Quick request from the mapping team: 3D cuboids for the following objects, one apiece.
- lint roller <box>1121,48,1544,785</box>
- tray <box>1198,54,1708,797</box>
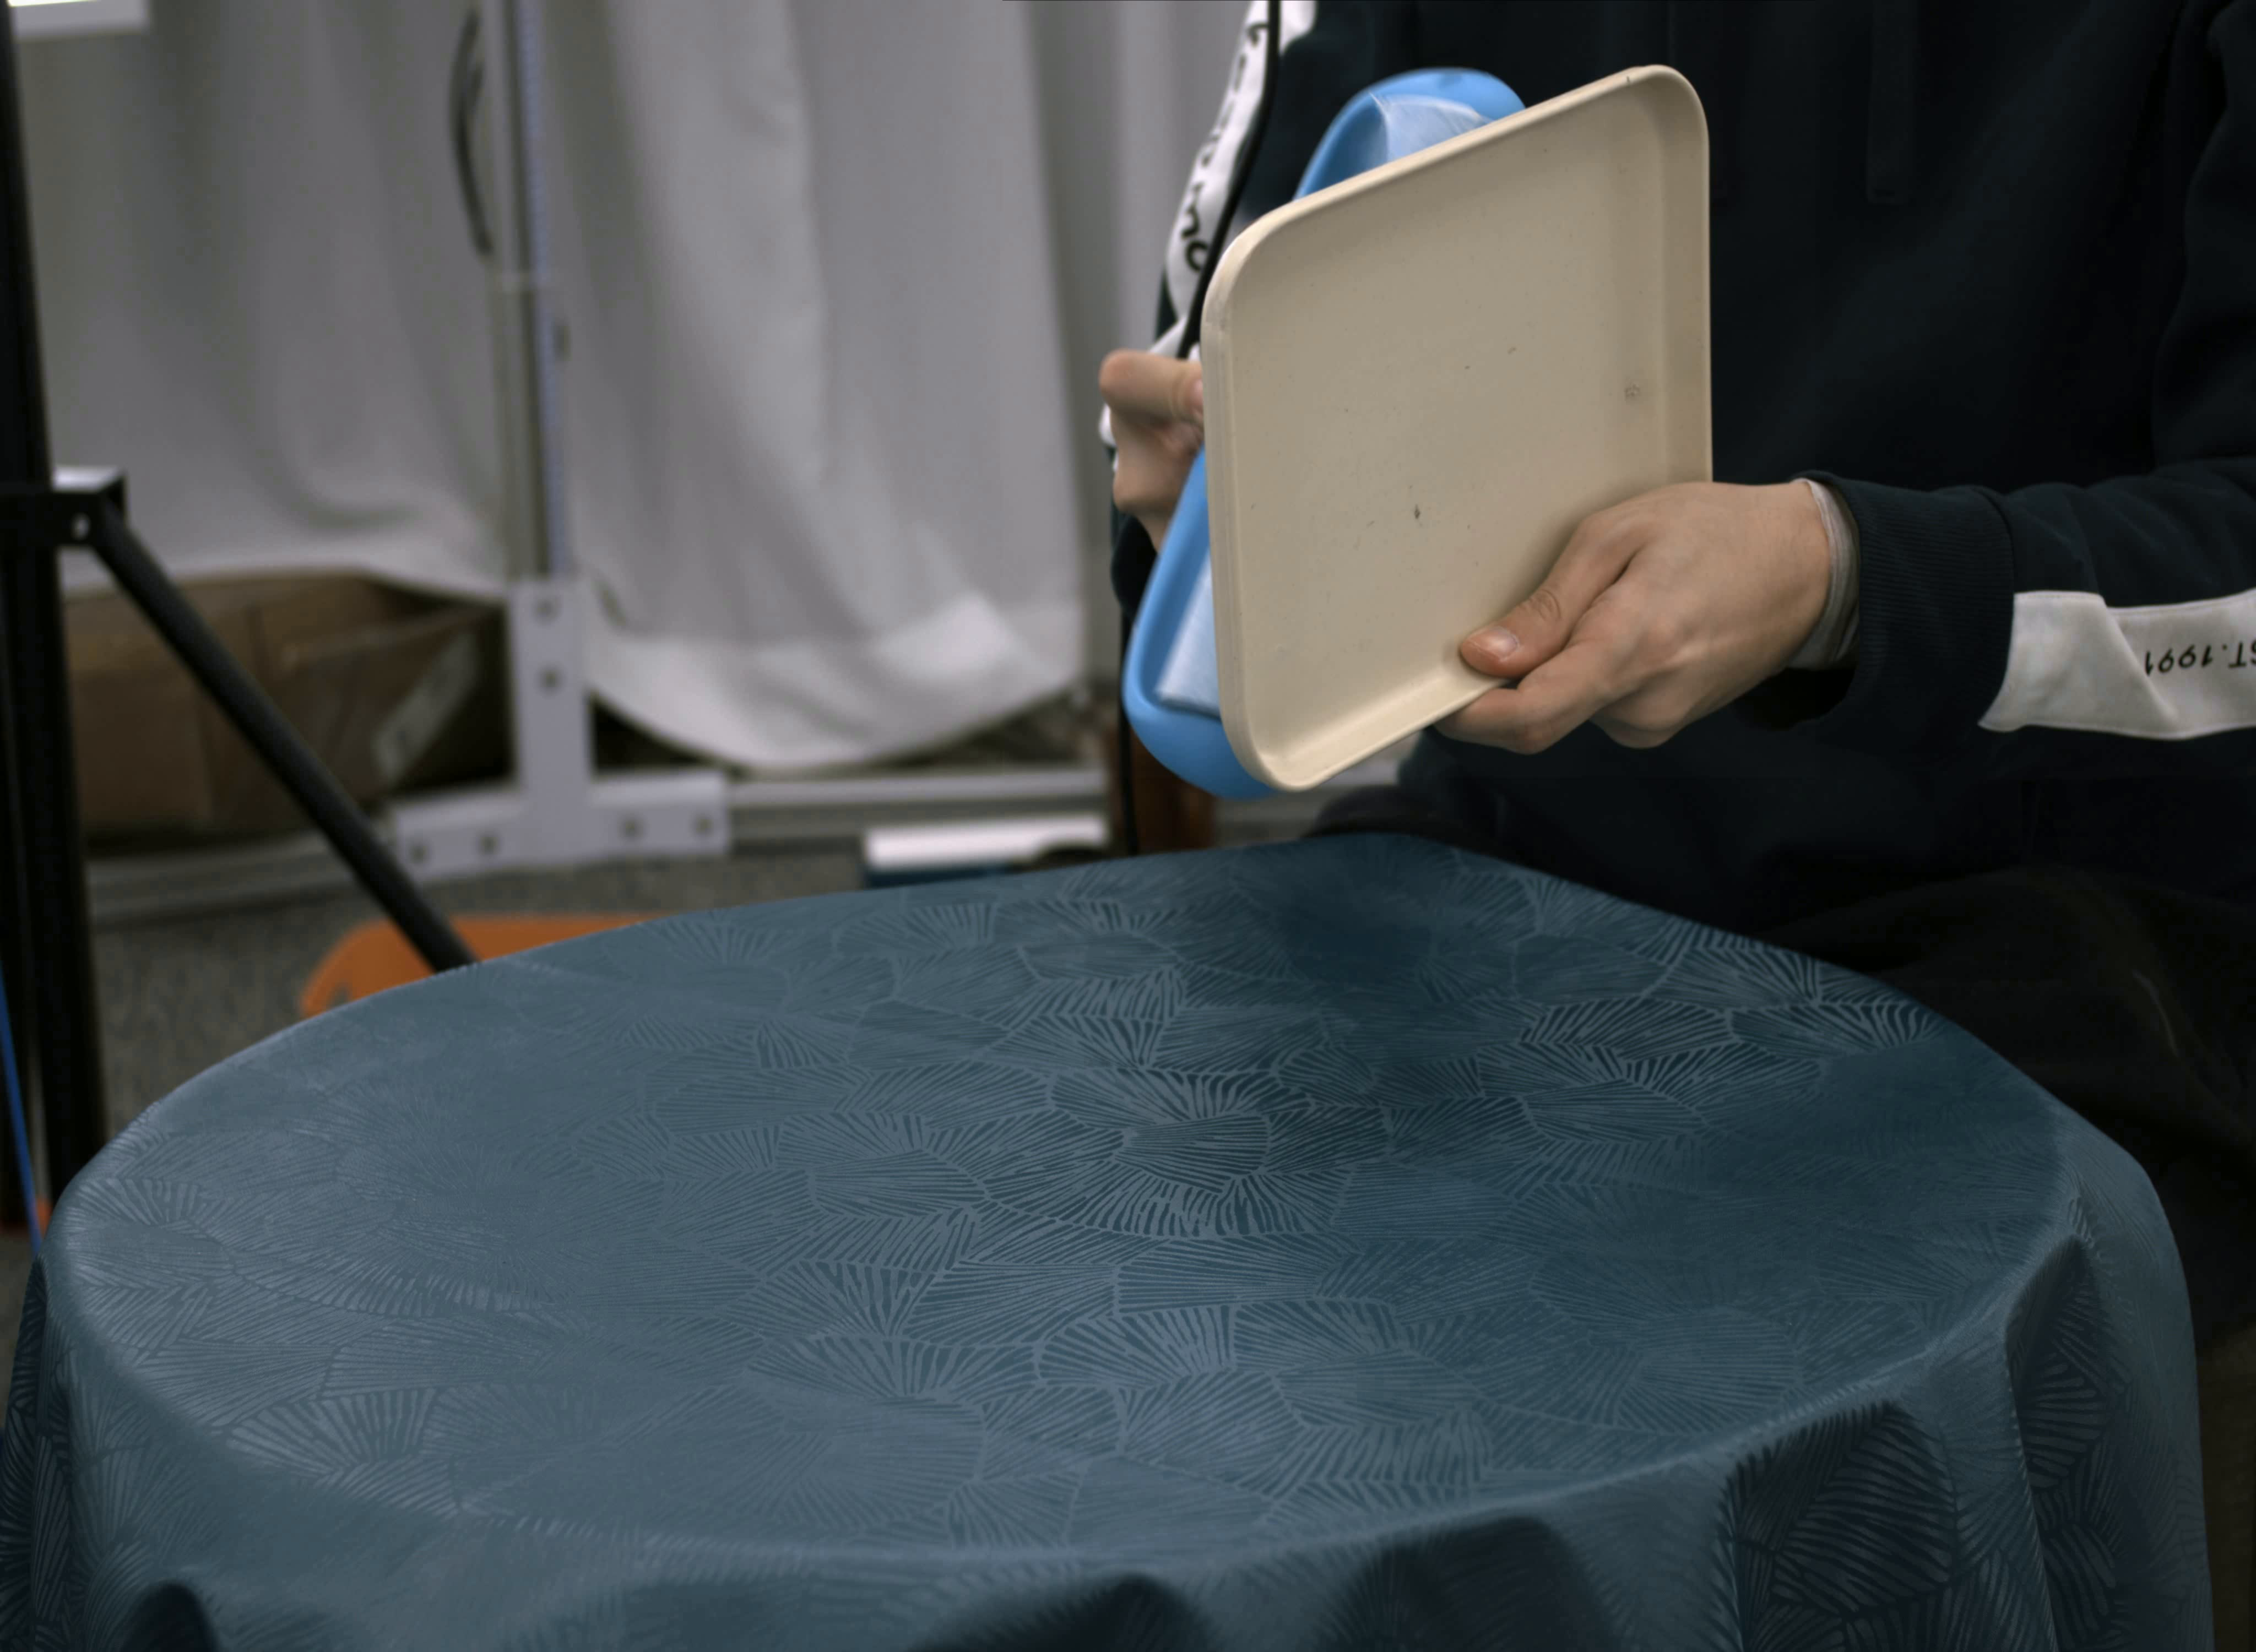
[{"bbox_3d":[0.053,-0.112,1.612,0.067,0.230,0.181,20,-11,-7],"label":"lint roller"},{"bbox_3d":[0.096,-0.118,1.536,0.018,0.171,0.235,14,28,37],"label":"tray"}]
